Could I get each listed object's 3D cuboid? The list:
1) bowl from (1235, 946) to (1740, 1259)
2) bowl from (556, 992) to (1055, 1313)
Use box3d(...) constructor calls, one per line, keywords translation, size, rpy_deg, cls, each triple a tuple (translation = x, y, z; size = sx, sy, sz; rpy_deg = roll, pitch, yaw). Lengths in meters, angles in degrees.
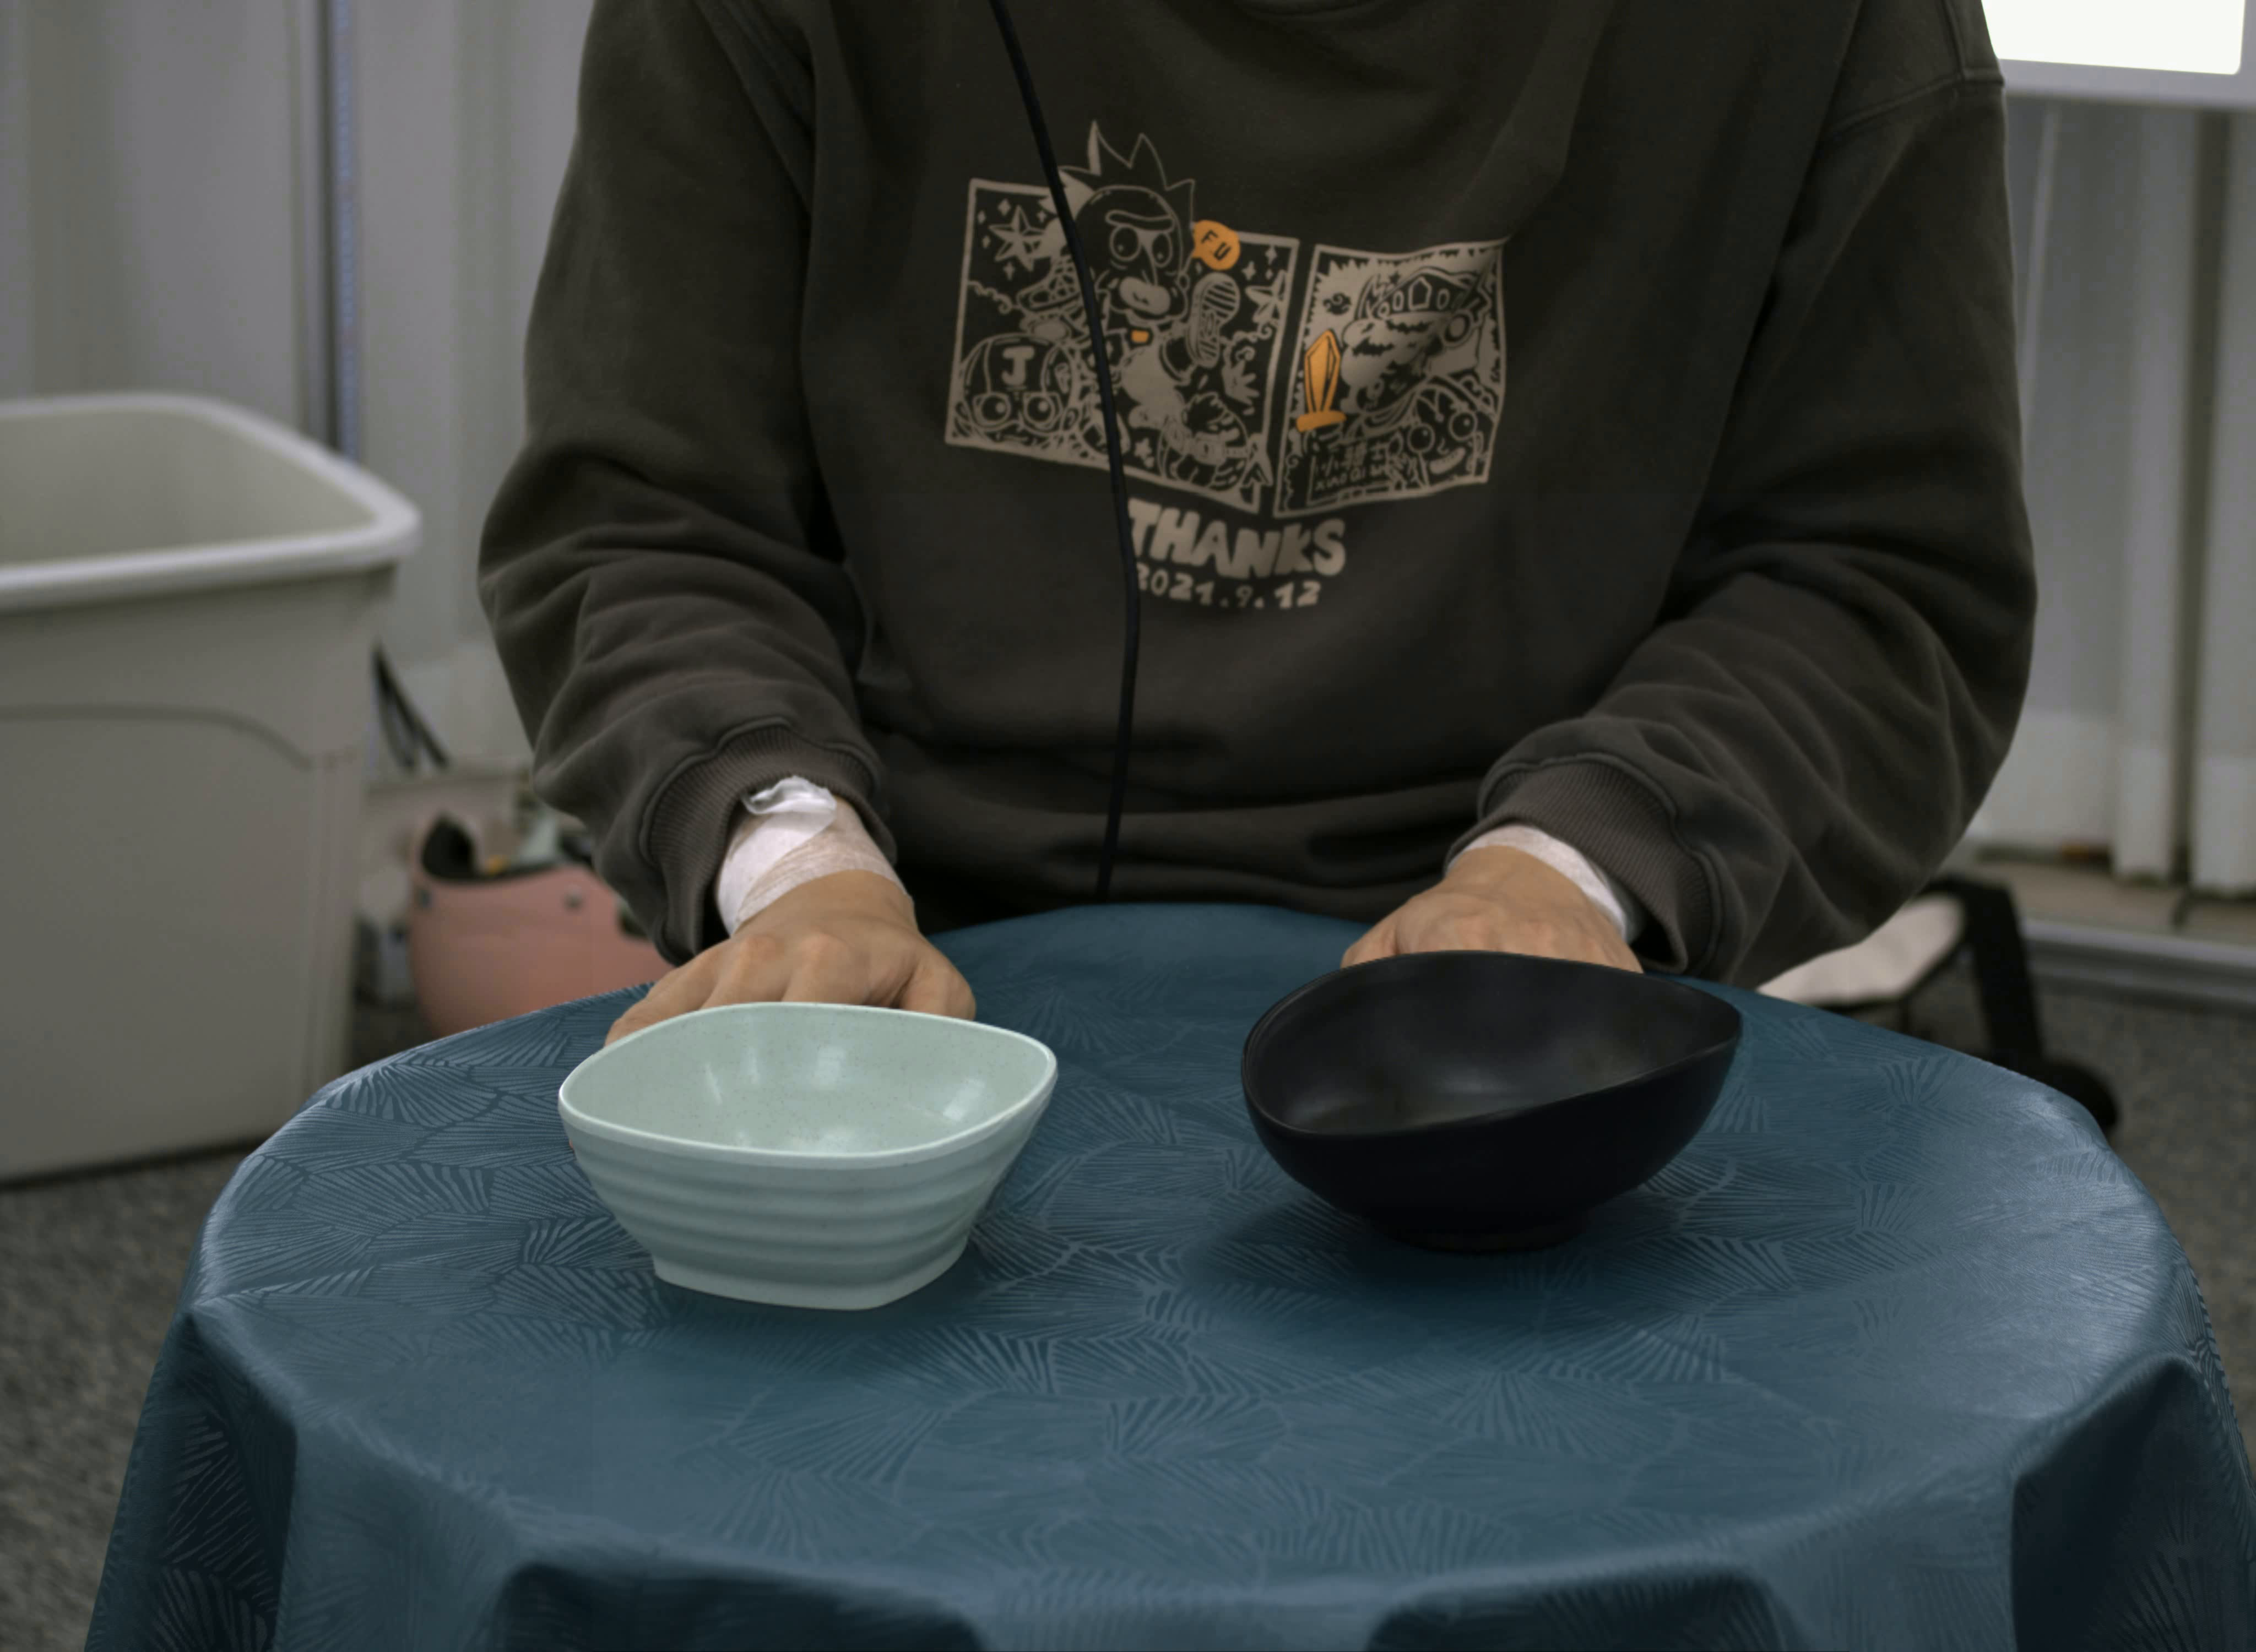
box3d(translation=(0.109, 0.090, 1.599), size=(0.135, 0.067, 0.171), rpy_deg=(15, 22, 42), cls="bowl")
box3d(translation=(-0.095, 0.100, 1.563), size=(0.151, 0.059, 0.150), rpy_deg=(2, 17, 0), cls="bowl")
